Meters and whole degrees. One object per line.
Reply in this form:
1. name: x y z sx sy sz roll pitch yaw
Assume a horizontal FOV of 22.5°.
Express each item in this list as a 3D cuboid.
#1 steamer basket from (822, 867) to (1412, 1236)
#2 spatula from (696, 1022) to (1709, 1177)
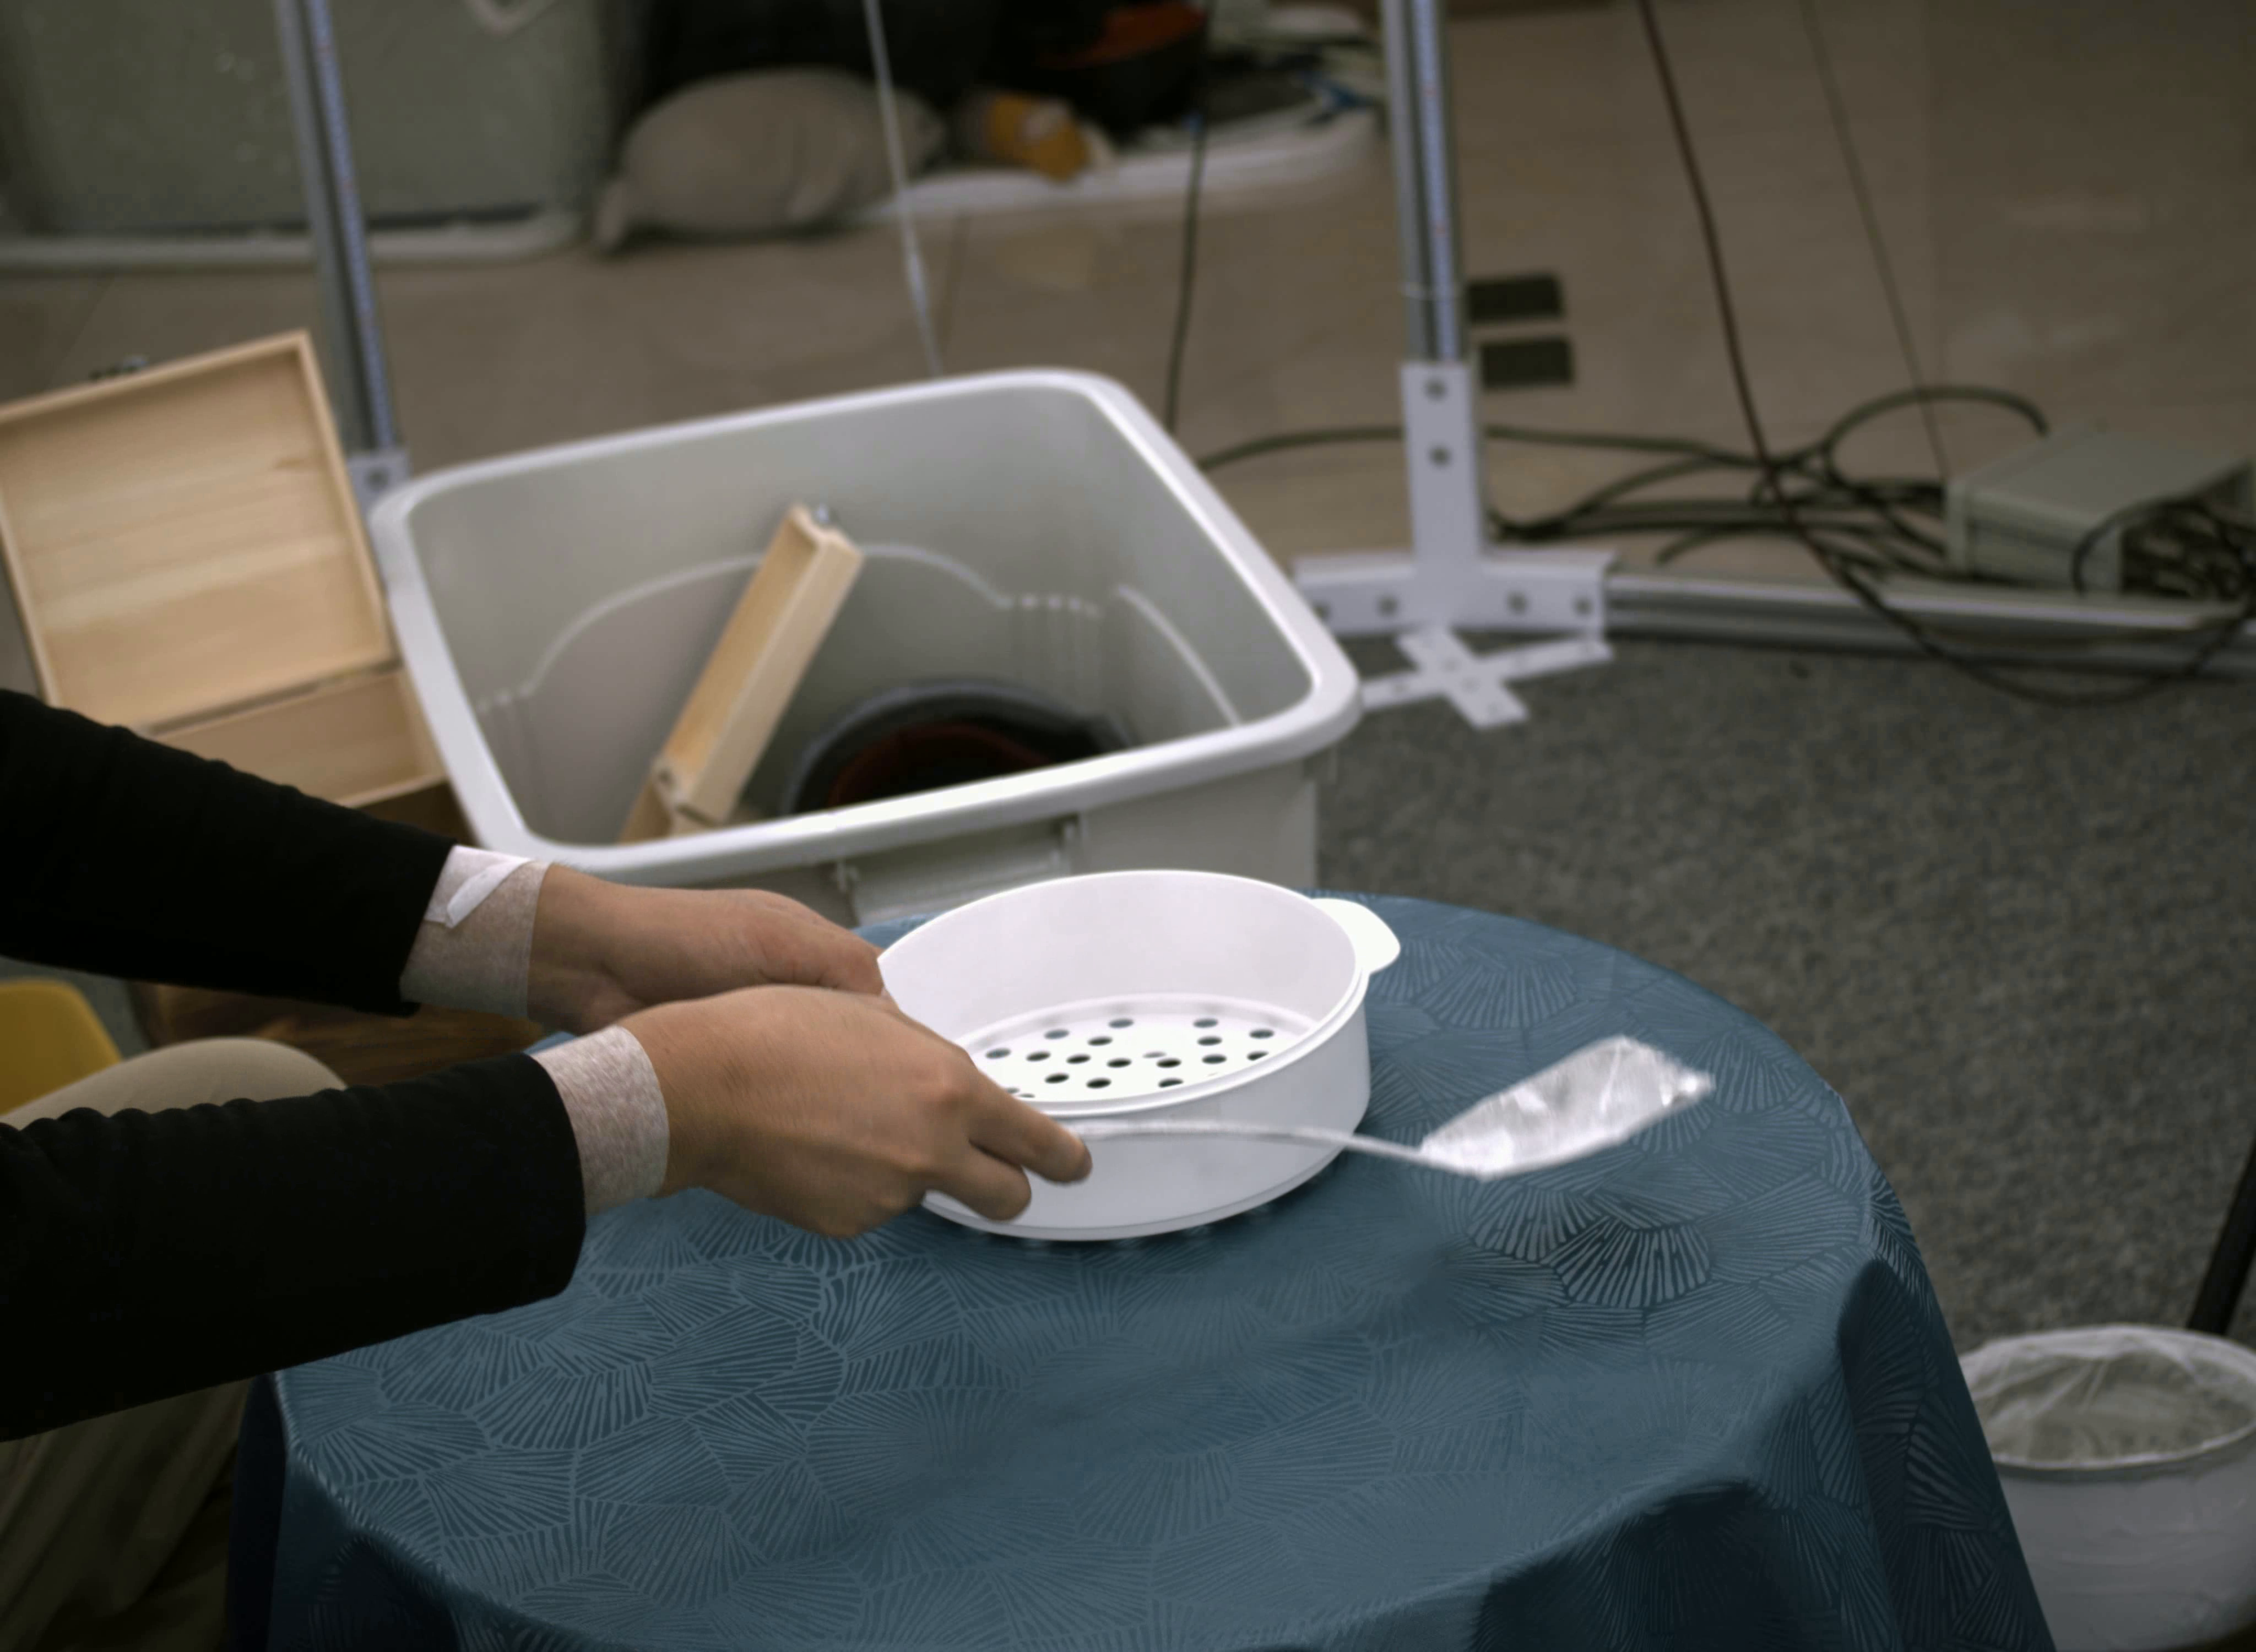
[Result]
1. steamer basket: 0.000 0.087 2.176 0.230 0.070 0.199 -14 25 -13
2. spatula: 0.028 0.100 2.007 0.364 0.045 0.098 0 10 -17
